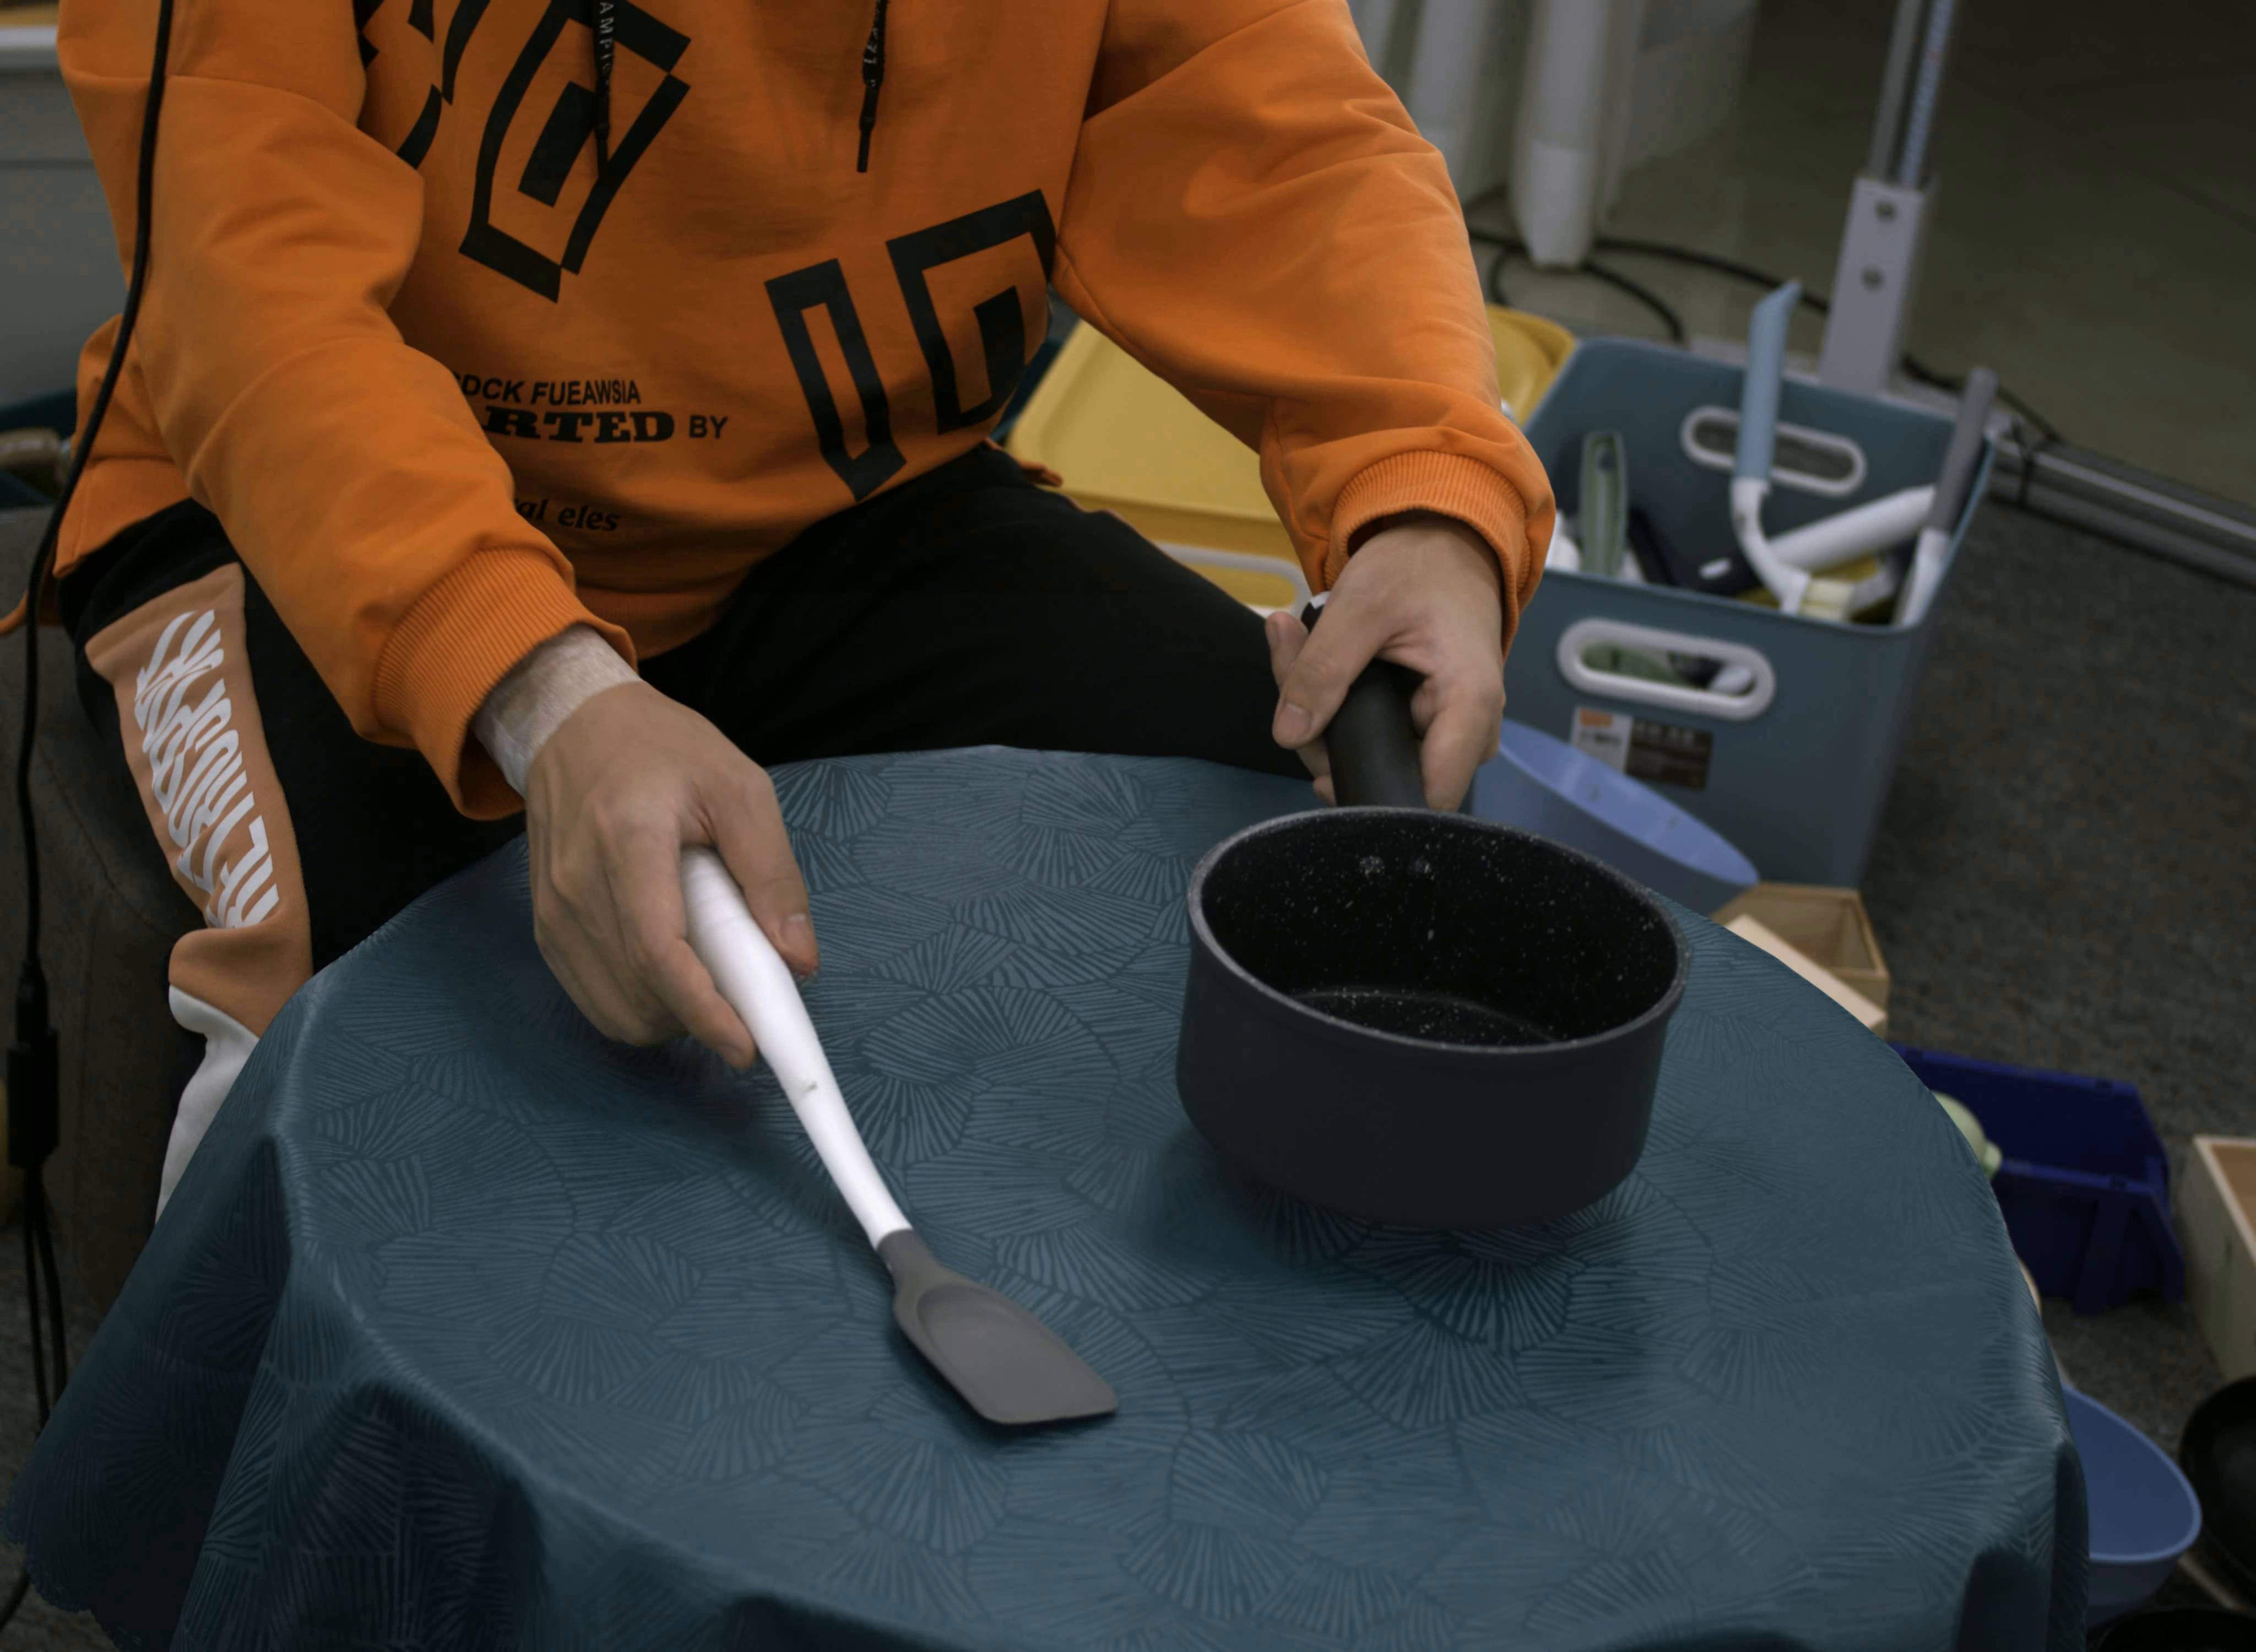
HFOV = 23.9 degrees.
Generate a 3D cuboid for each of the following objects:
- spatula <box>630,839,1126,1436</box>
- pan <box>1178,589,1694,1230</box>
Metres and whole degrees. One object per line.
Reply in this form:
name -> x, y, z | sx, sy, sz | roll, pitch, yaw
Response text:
spatula -> -0.090, 0.106, 1.757 | 0.058, 0.032, 0.290 | 1, 38, -37
pan -> 0.096, 0.025, 1.871 | 0.171, 0.086, 0.331 | 5, 28, -6
